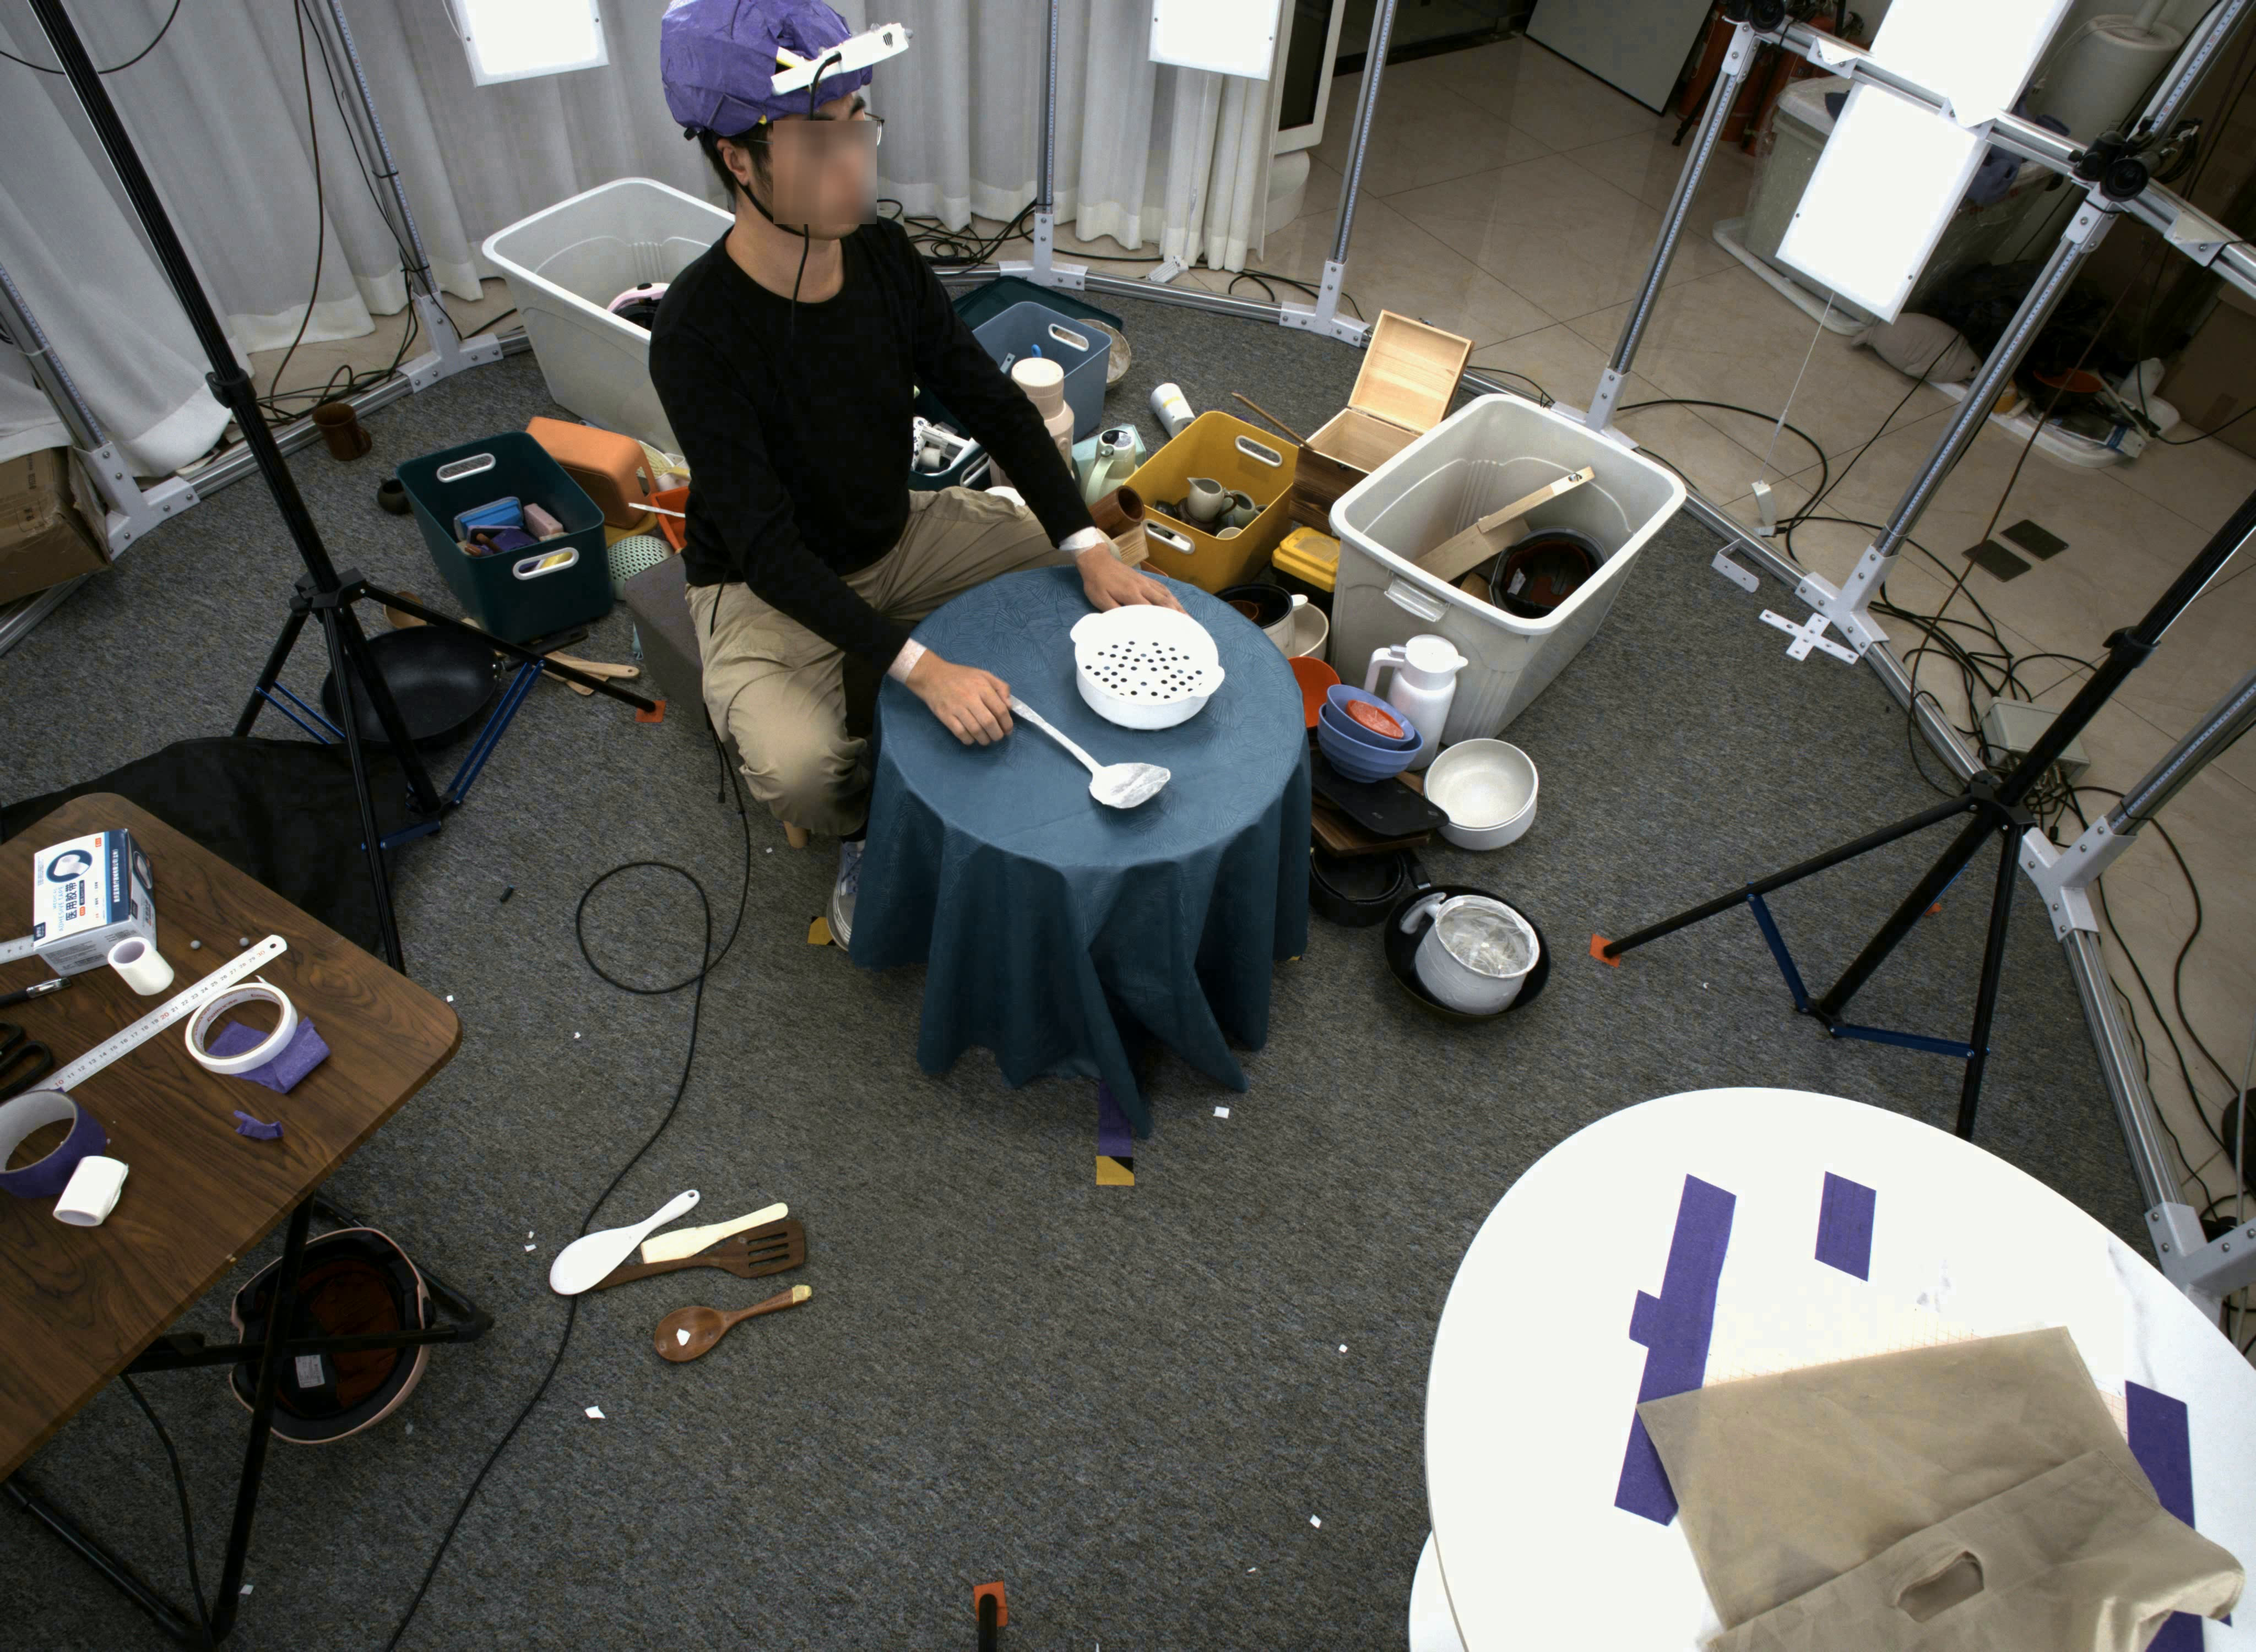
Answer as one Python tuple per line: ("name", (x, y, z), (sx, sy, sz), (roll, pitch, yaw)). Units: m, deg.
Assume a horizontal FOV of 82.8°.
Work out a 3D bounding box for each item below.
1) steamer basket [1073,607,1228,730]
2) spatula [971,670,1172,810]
("steamer basket", (0.029, -0.223, 1.820), (0.232, 0.067, 0.205), (26, 51, 18))
("spatula", (-0.097, -0.130, 1.752), (0.370, 0.044, 0.099), (37, 60, 25))
